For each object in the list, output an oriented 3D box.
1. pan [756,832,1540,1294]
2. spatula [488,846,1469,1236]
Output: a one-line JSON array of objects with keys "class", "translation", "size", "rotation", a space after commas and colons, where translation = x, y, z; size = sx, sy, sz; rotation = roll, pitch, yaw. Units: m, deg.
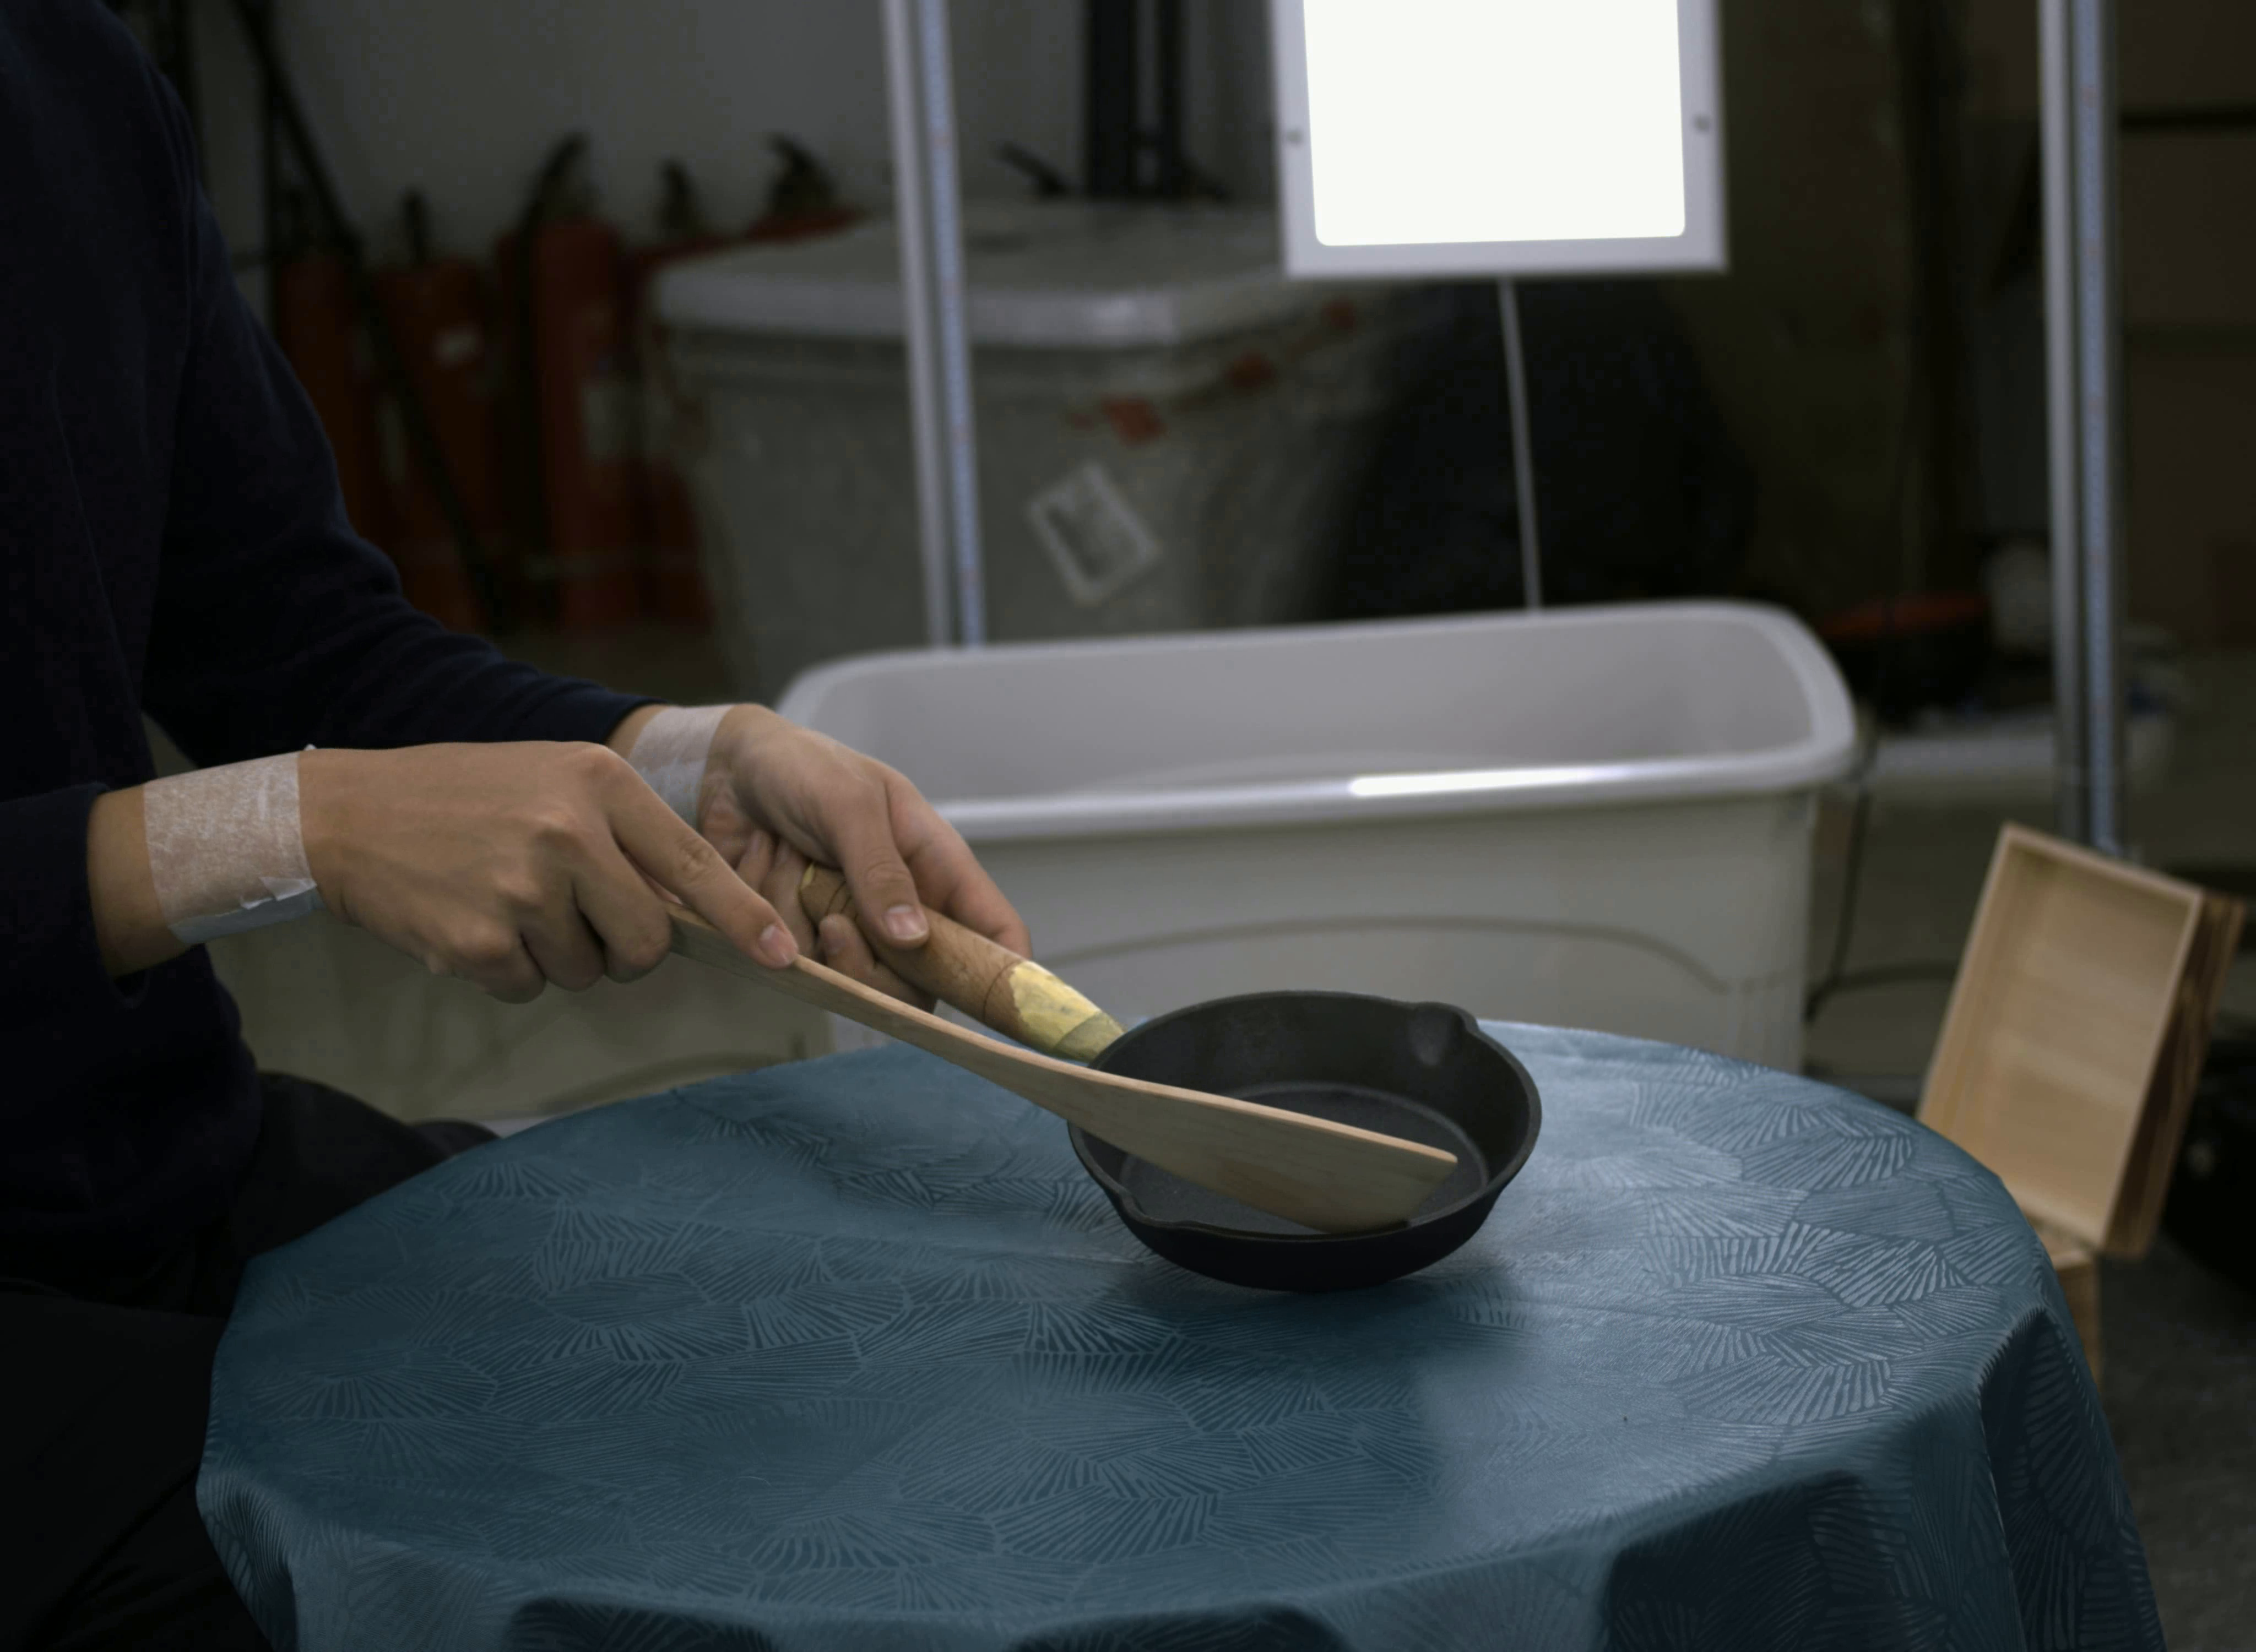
[{"class": "pan", "translation": [-0.005, 0.074, 1.872], "size": [0.330, 0.050, 0.165], "rotation": [23, 38, 37]}, {"class": "spatula", "translation": [-0.051, 0.067, 1.754], "size": [0.328, 0.080, 0.016], "rotation": [21, 62, 6]}]
